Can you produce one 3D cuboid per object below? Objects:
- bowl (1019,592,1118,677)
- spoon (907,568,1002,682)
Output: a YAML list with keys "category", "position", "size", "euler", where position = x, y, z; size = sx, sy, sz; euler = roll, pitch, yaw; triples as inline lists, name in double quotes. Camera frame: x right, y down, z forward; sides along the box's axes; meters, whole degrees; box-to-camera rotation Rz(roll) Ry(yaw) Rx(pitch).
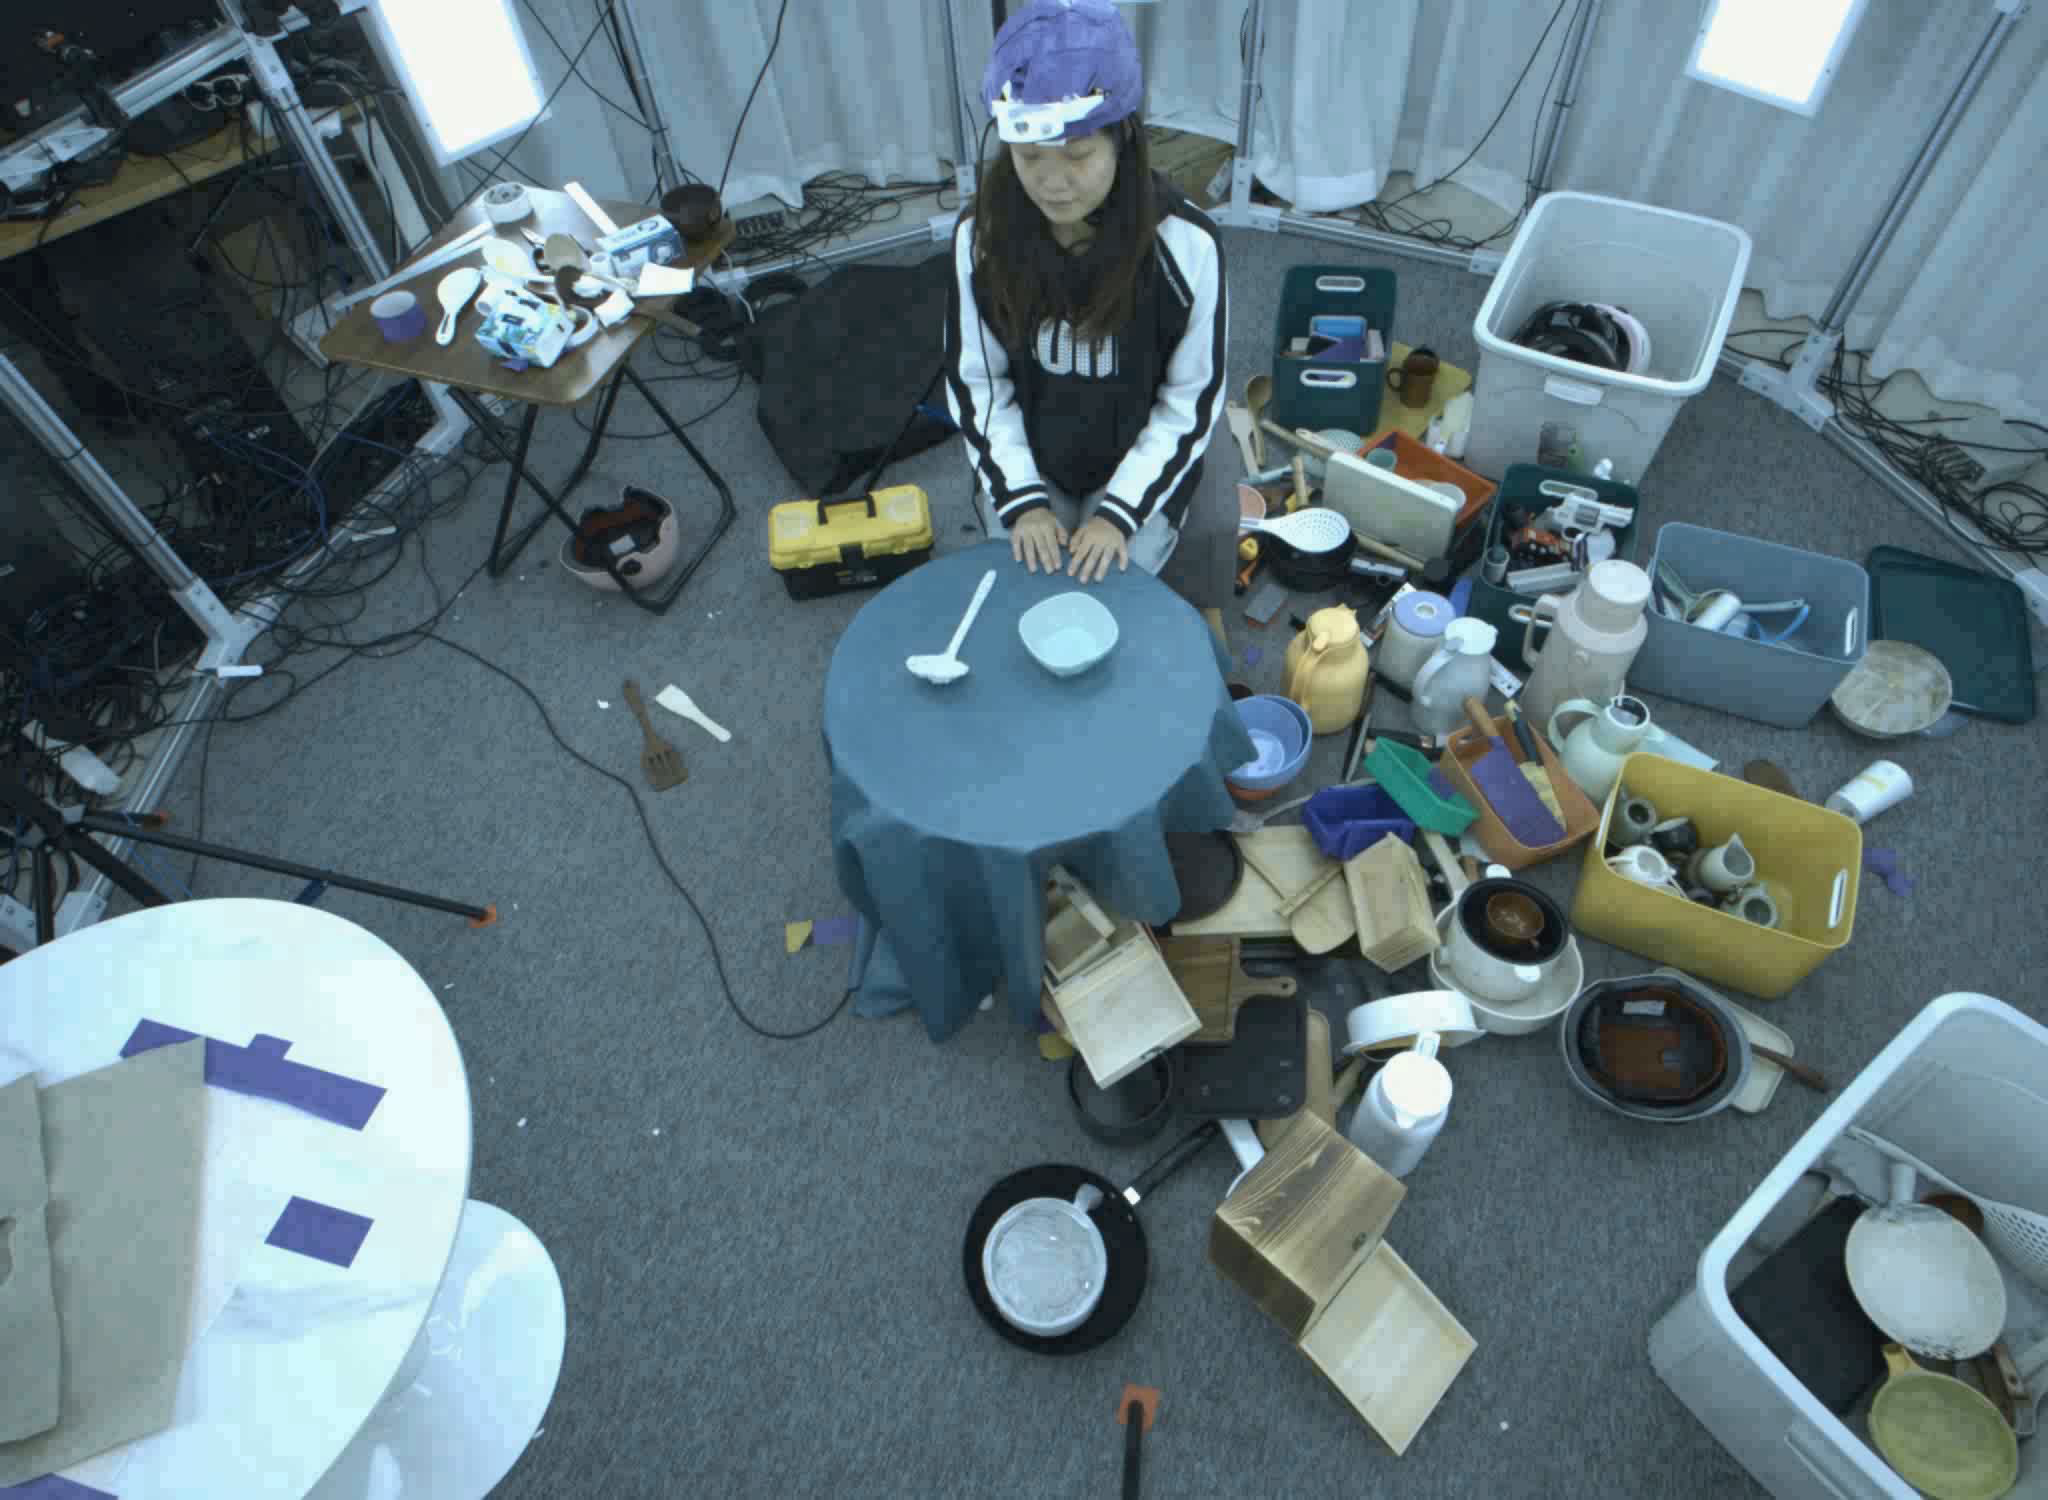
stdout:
- category: "bowl"
  position: [0.068, -0.166, 1.870]
  size: [0.151, 0.059, 0.150]
  euler: [0, 55, 2]
- category: "spoon"
  position: [-0.089, -0.201, 1.898]
  size: [0.100, 0.060, 0.277]
  euler: [20, 58, 10]
